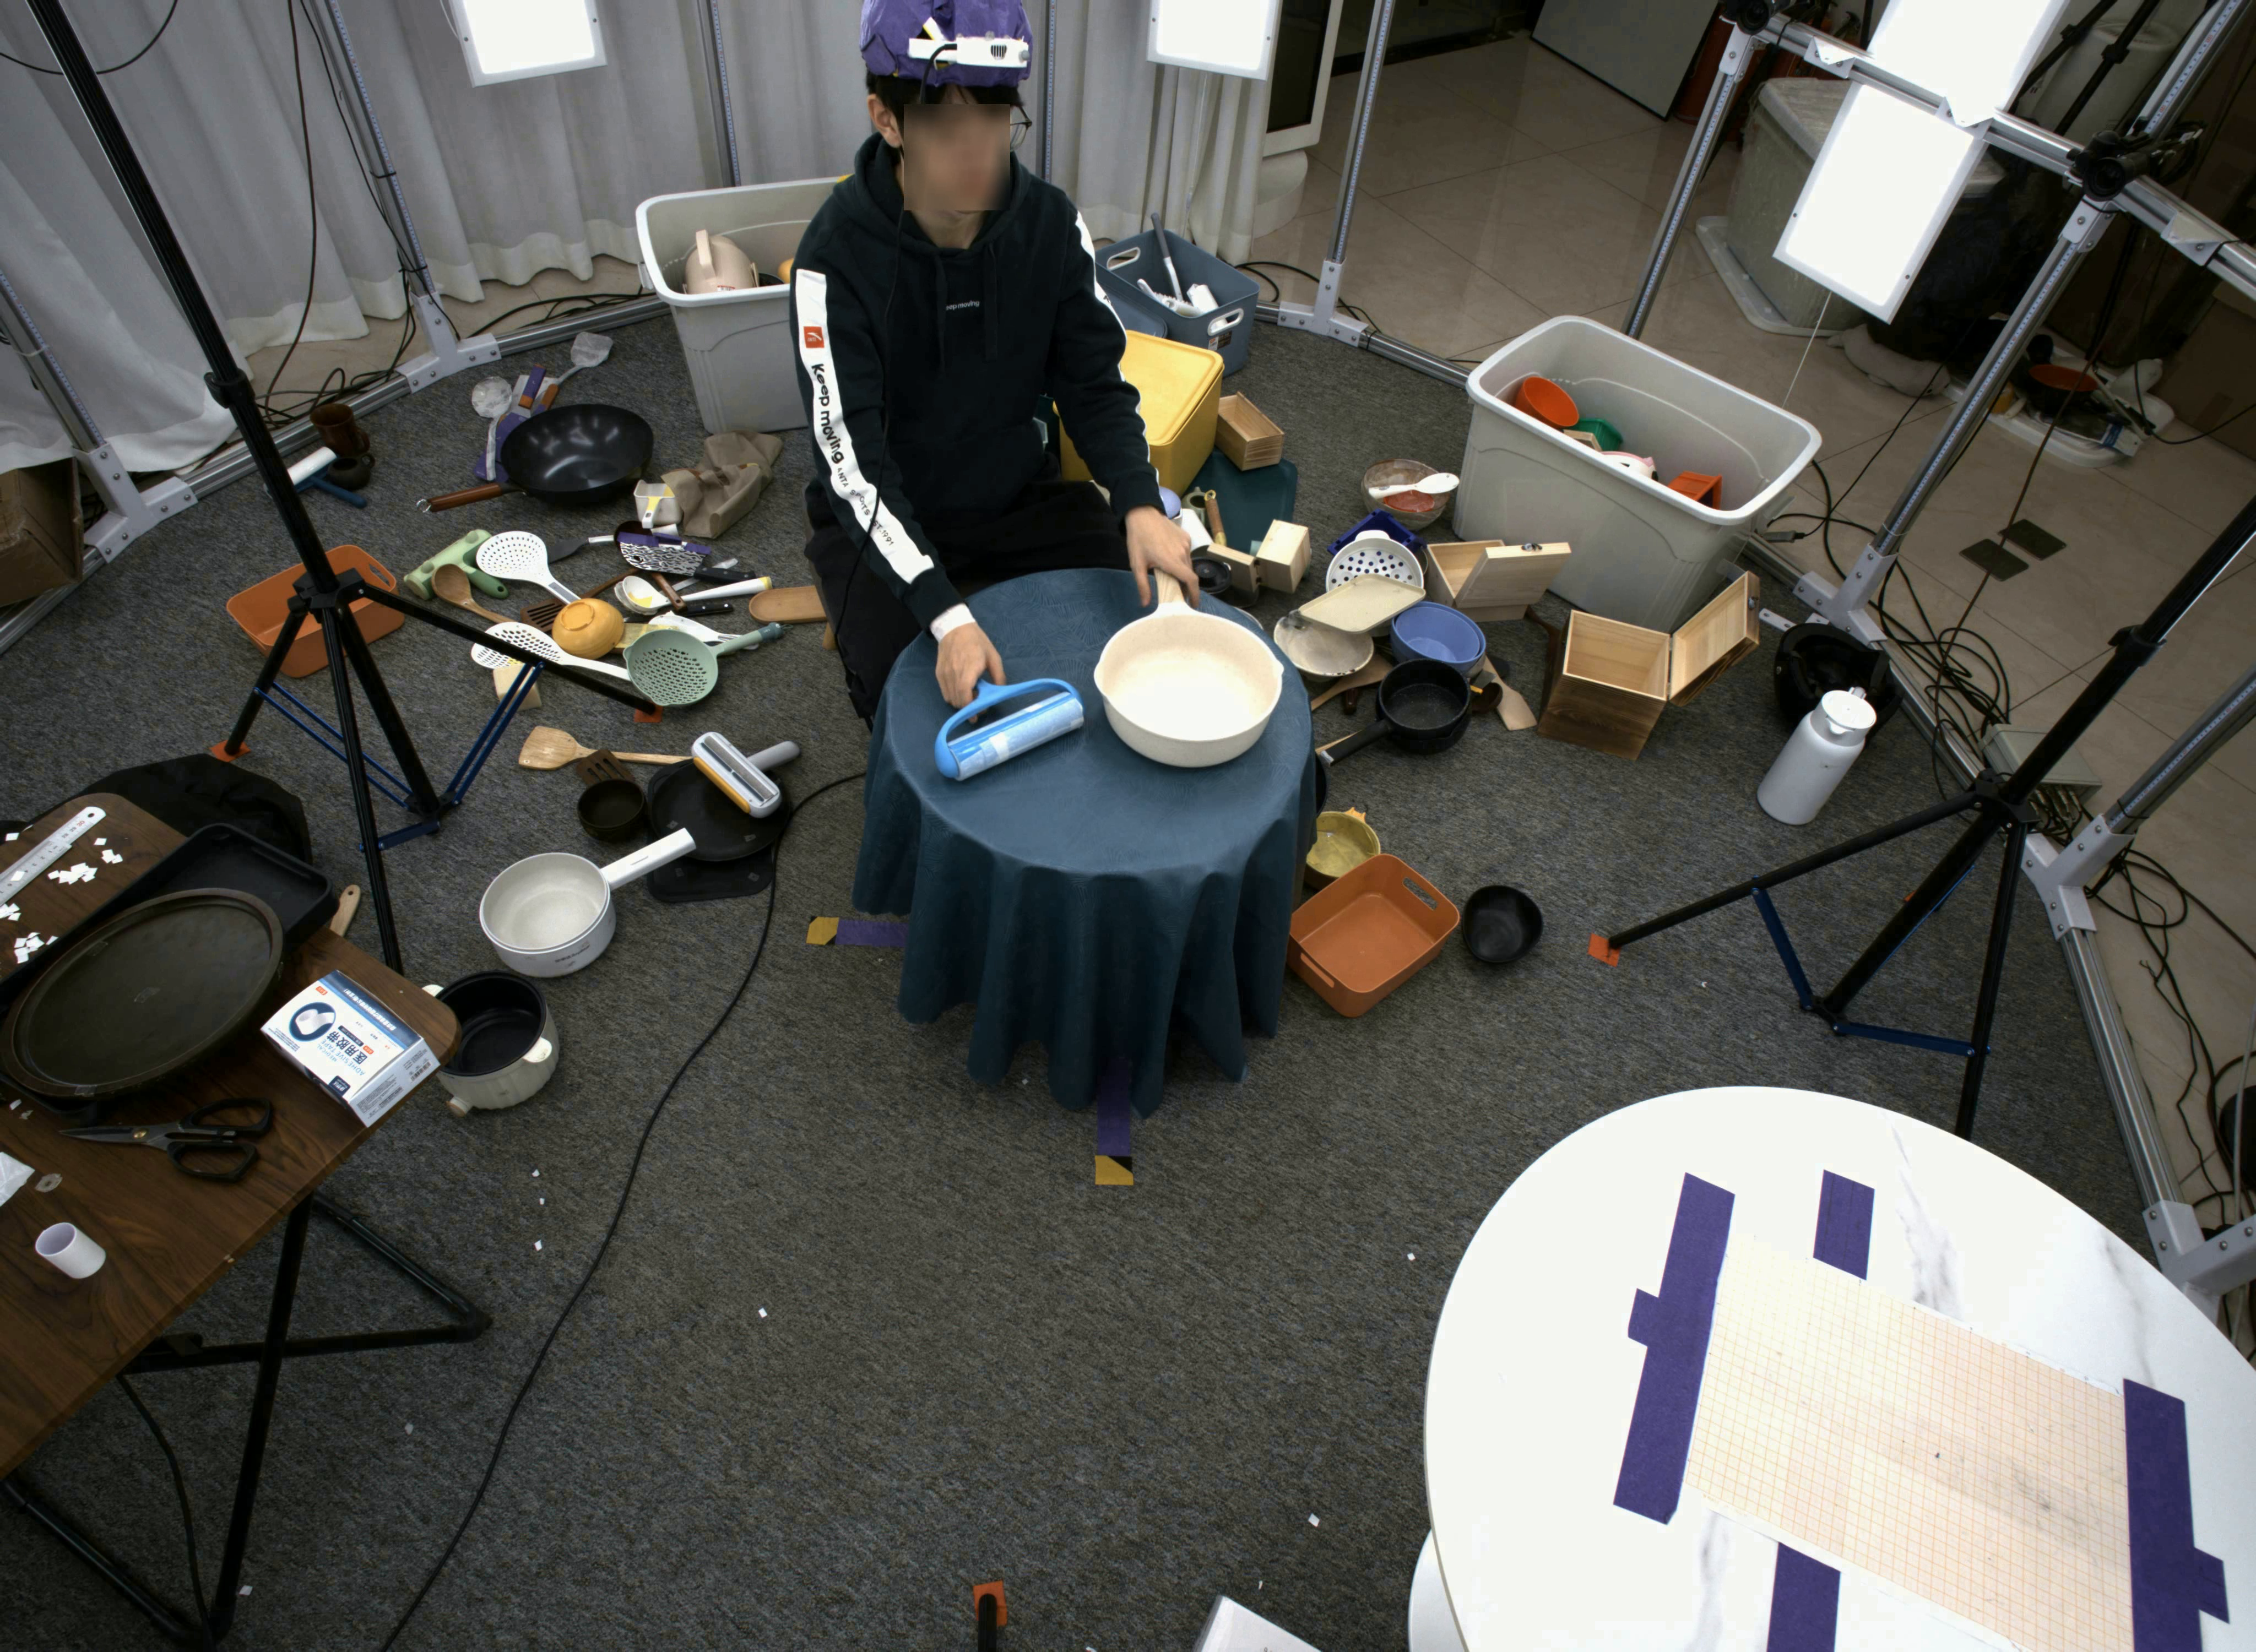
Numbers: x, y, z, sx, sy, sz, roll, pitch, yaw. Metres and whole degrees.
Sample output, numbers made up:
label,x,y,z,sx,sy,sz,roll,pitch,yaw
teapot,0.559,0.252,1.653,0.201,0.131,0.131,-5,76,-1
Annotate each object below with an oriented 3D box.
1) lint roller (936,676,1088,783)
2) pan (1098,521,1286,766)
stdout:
label,x,y,z,sx,sy,sz,roll,pitch,yaw
lint roller,-0.189,-0.161,1.758,0.230,0.066,0.183,-30,58,-25
pan,0.072,-0.261,1.834,0.263,0.099,0.446,-6,50,-8
